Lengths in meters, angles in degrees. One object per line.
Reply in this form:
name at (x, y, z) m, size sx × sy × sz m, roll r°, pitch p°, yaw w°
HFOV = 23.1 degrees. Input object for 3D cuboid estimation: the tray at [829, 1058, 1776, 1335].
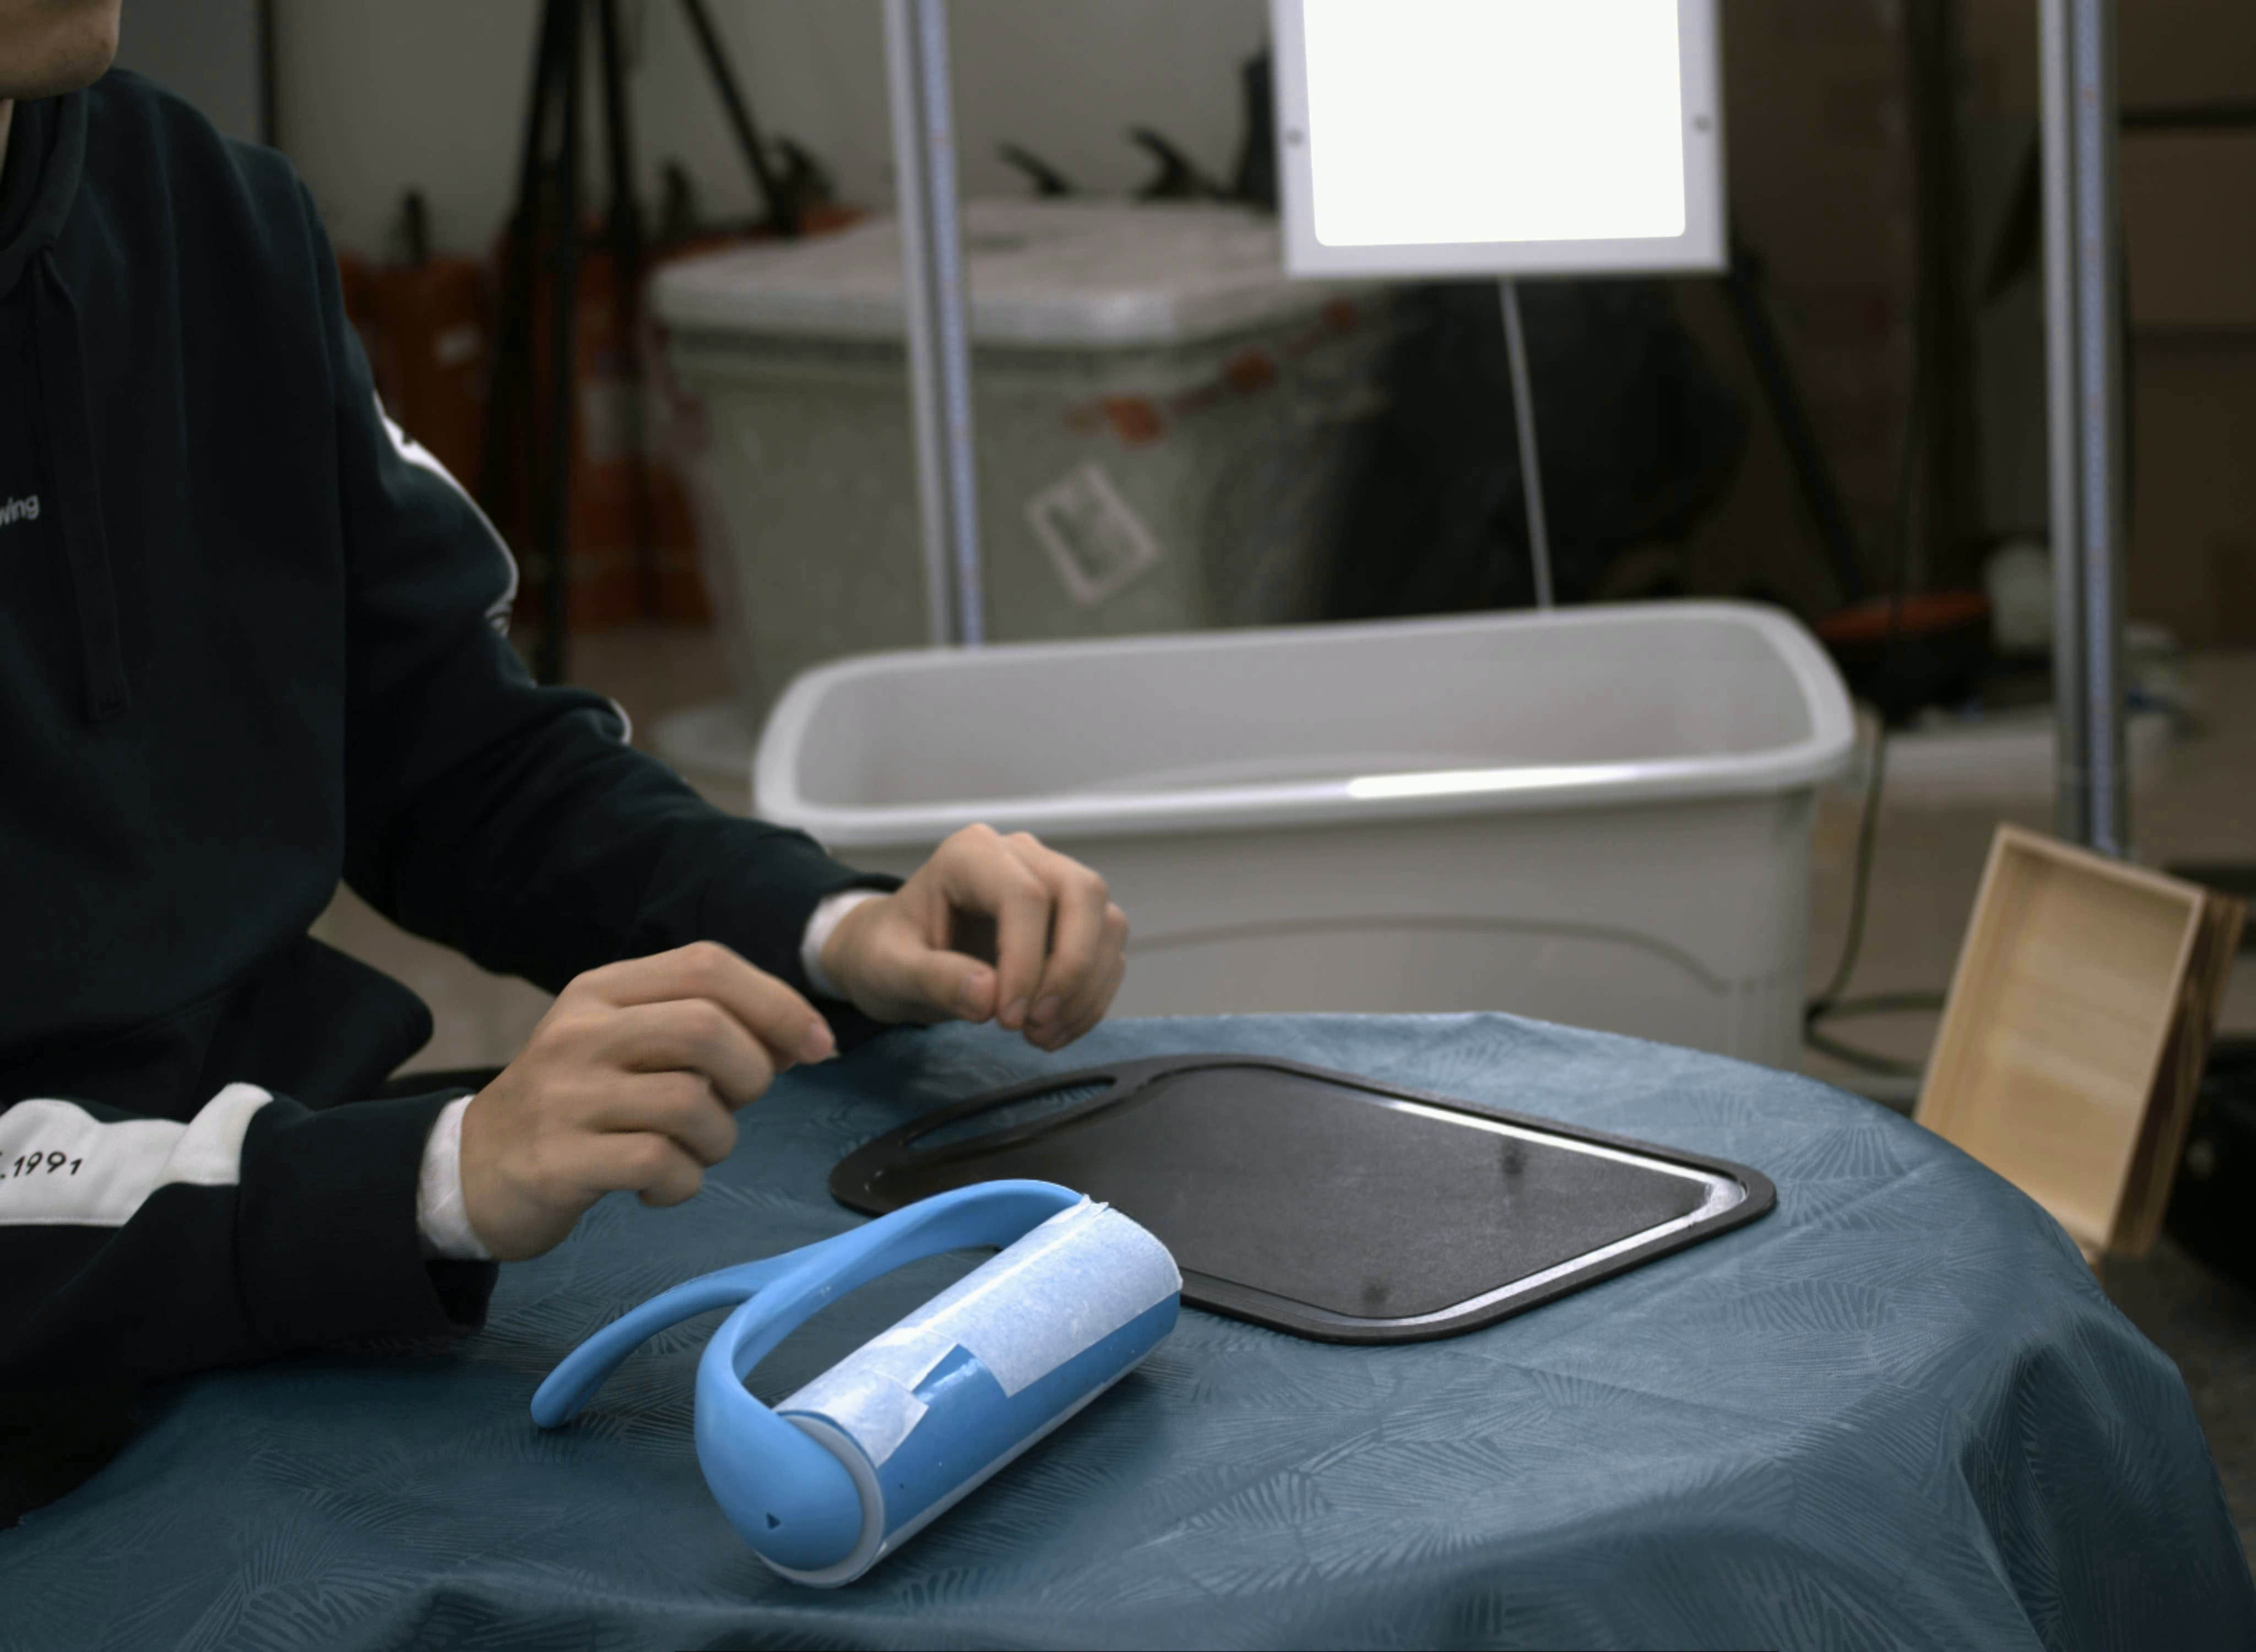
tray at (0.049, 0.121, 1.884) m, size 0.206 × 0.010 × 0.332 m, roll -16°, pitch 17°, yaw -38°

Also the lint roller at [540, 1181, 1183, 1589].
lint roller at (-0.102, 0.163, 1.664) m, size 0.183 × 0.068 × 0.224 m, roll 2°, pitch 17°, yaw 25°
